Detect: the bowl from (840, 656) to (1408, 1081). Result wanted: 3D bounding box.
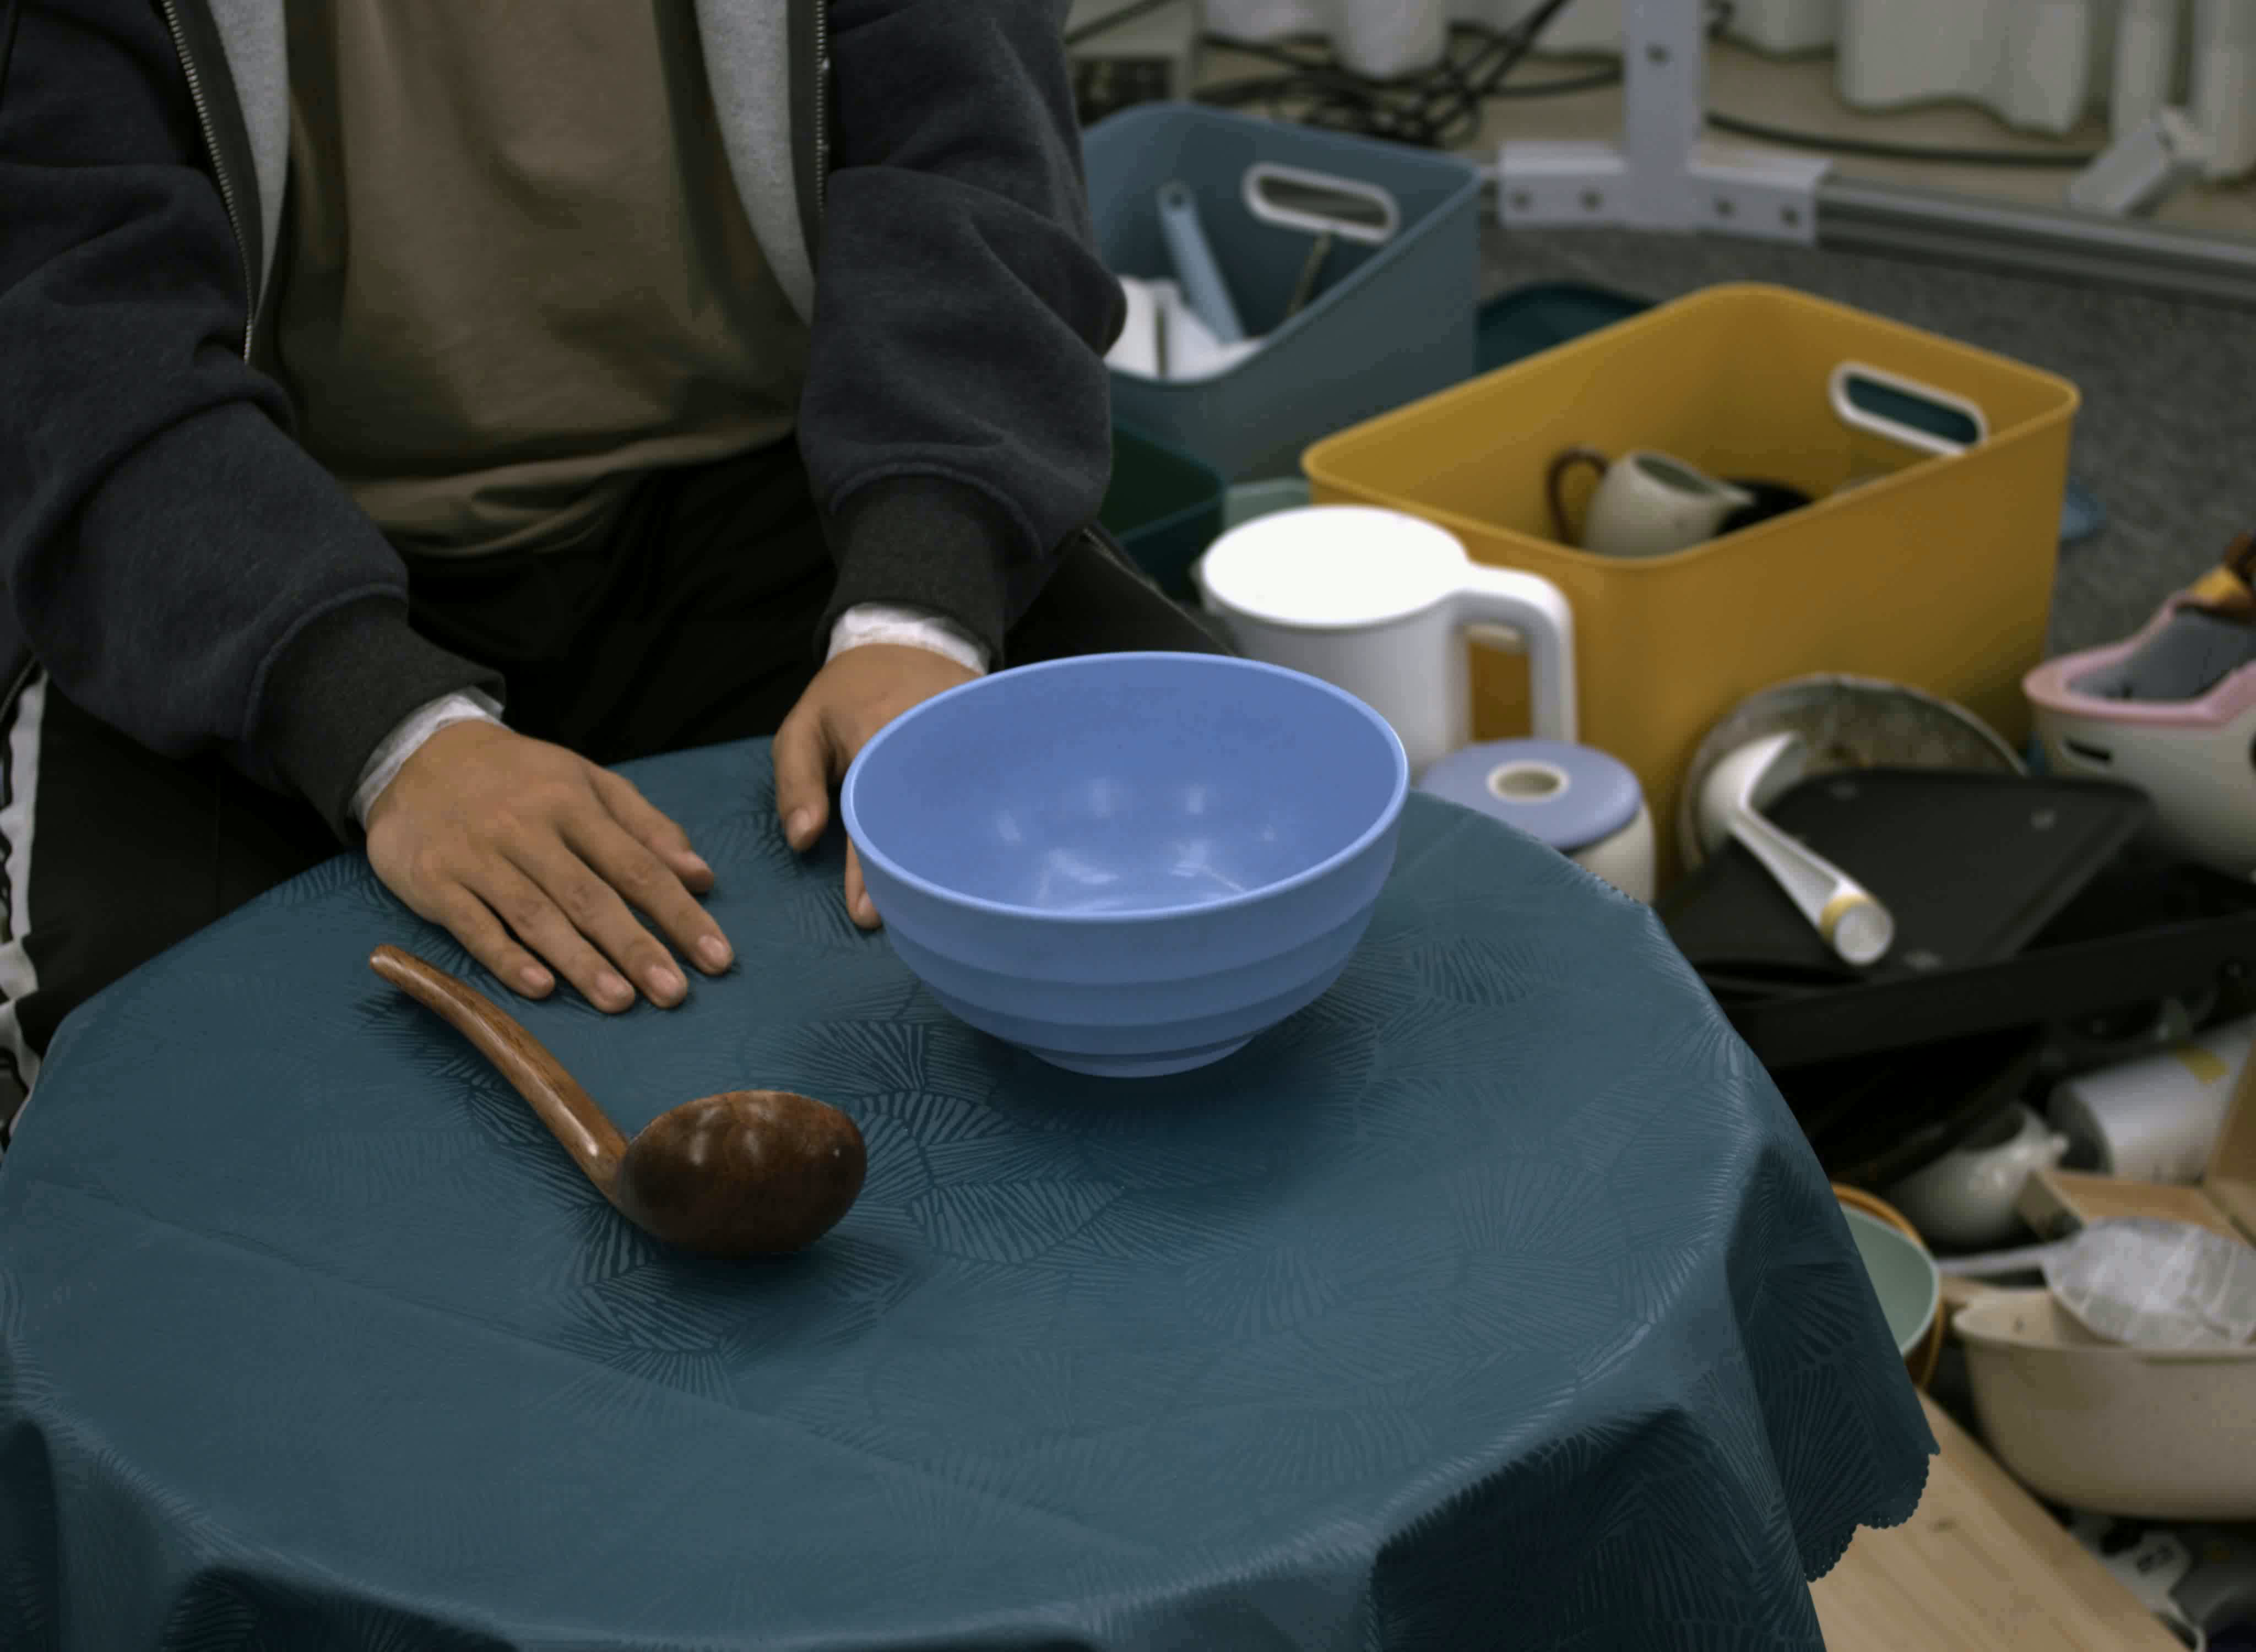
[{"bbox_3d":[0.002,0.025,1.948,0.195,0.094,0.199,-3,27,2],"label":"bowl"}]

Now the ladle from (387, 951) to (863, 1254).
[{"bbox_3d":[-0.179,0.072,1.899,0.081,0.076,0.275,27,6,-37],"label":"ladle"}]
